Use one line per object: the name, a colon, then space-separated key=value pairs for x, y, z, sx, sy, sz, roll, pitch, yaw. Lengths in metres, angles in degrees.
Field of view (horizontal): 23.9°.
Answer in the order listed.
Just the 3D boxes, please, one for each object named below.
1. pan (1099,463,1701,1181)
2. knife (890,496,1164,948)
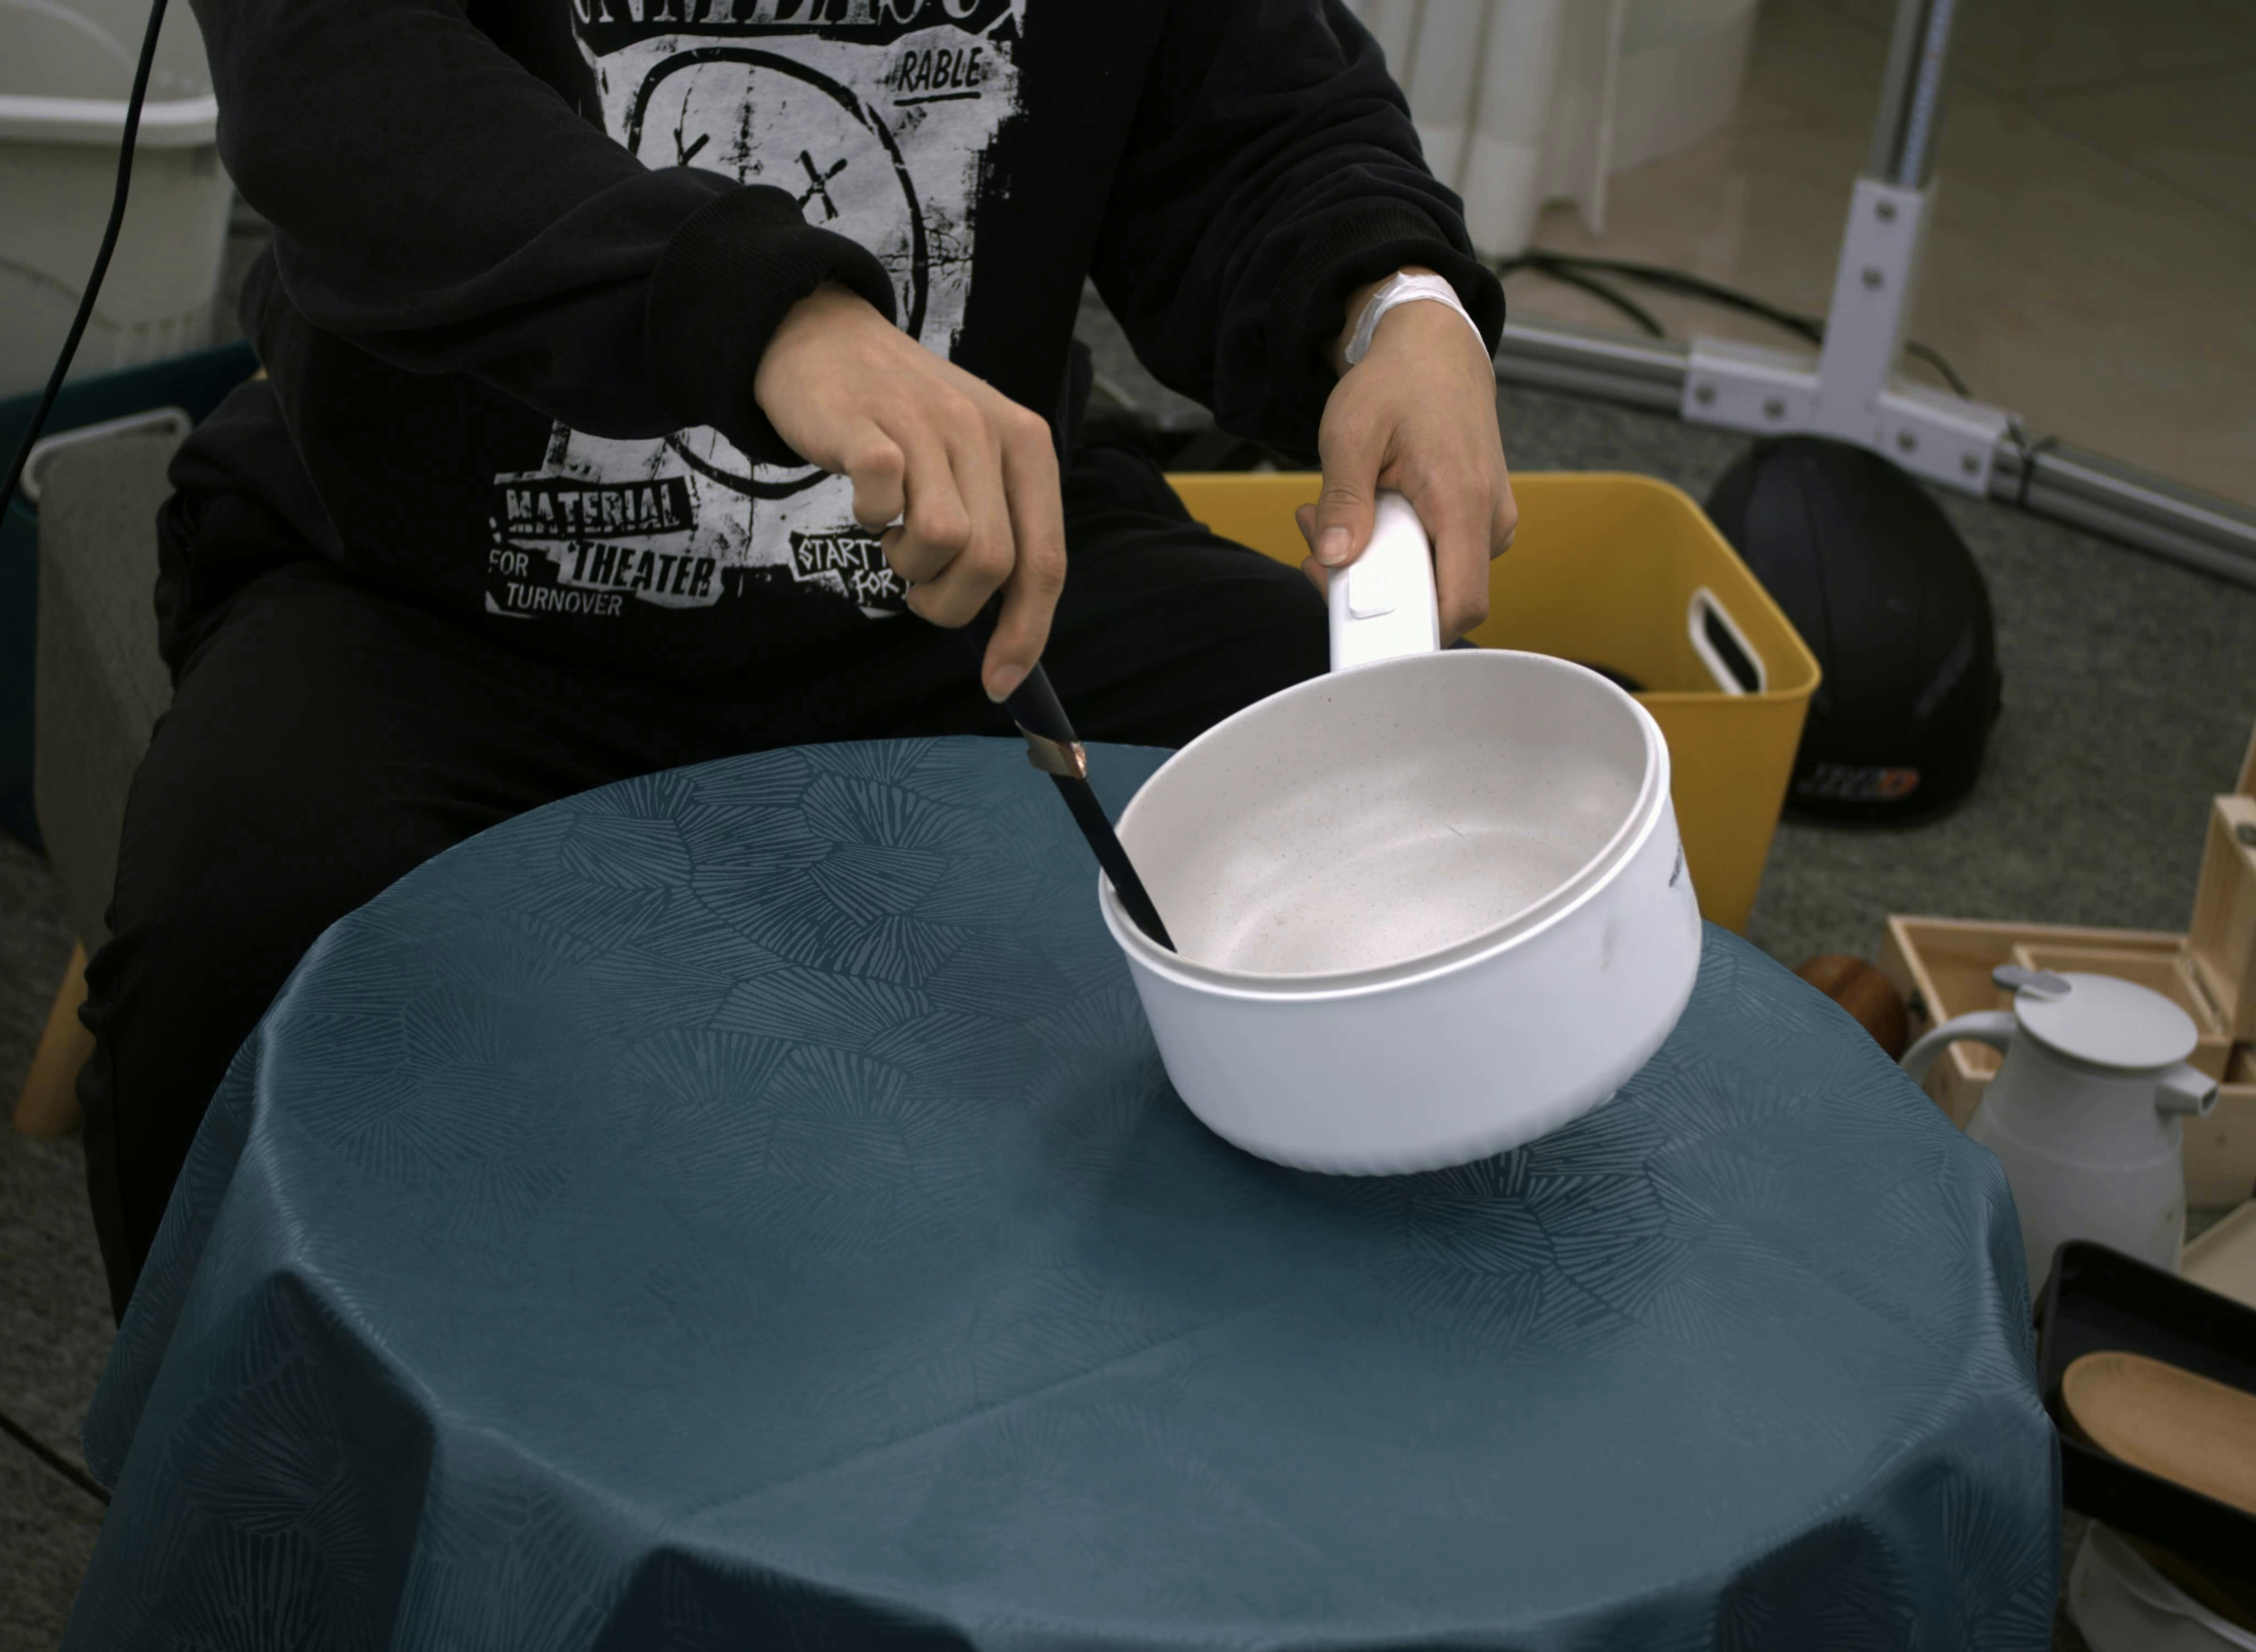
pan: x=0.101 y=-0.004 z=1.910 sx=0.201 sy=0.101 sz=0.357 roll=-14 pitch=30 yaw=11
knife: x=-0.024 y=-0.018 z=1.793 sx=0.026 sy=0.224 sz=0.017 roll=4 pitch=40 yaw=49
